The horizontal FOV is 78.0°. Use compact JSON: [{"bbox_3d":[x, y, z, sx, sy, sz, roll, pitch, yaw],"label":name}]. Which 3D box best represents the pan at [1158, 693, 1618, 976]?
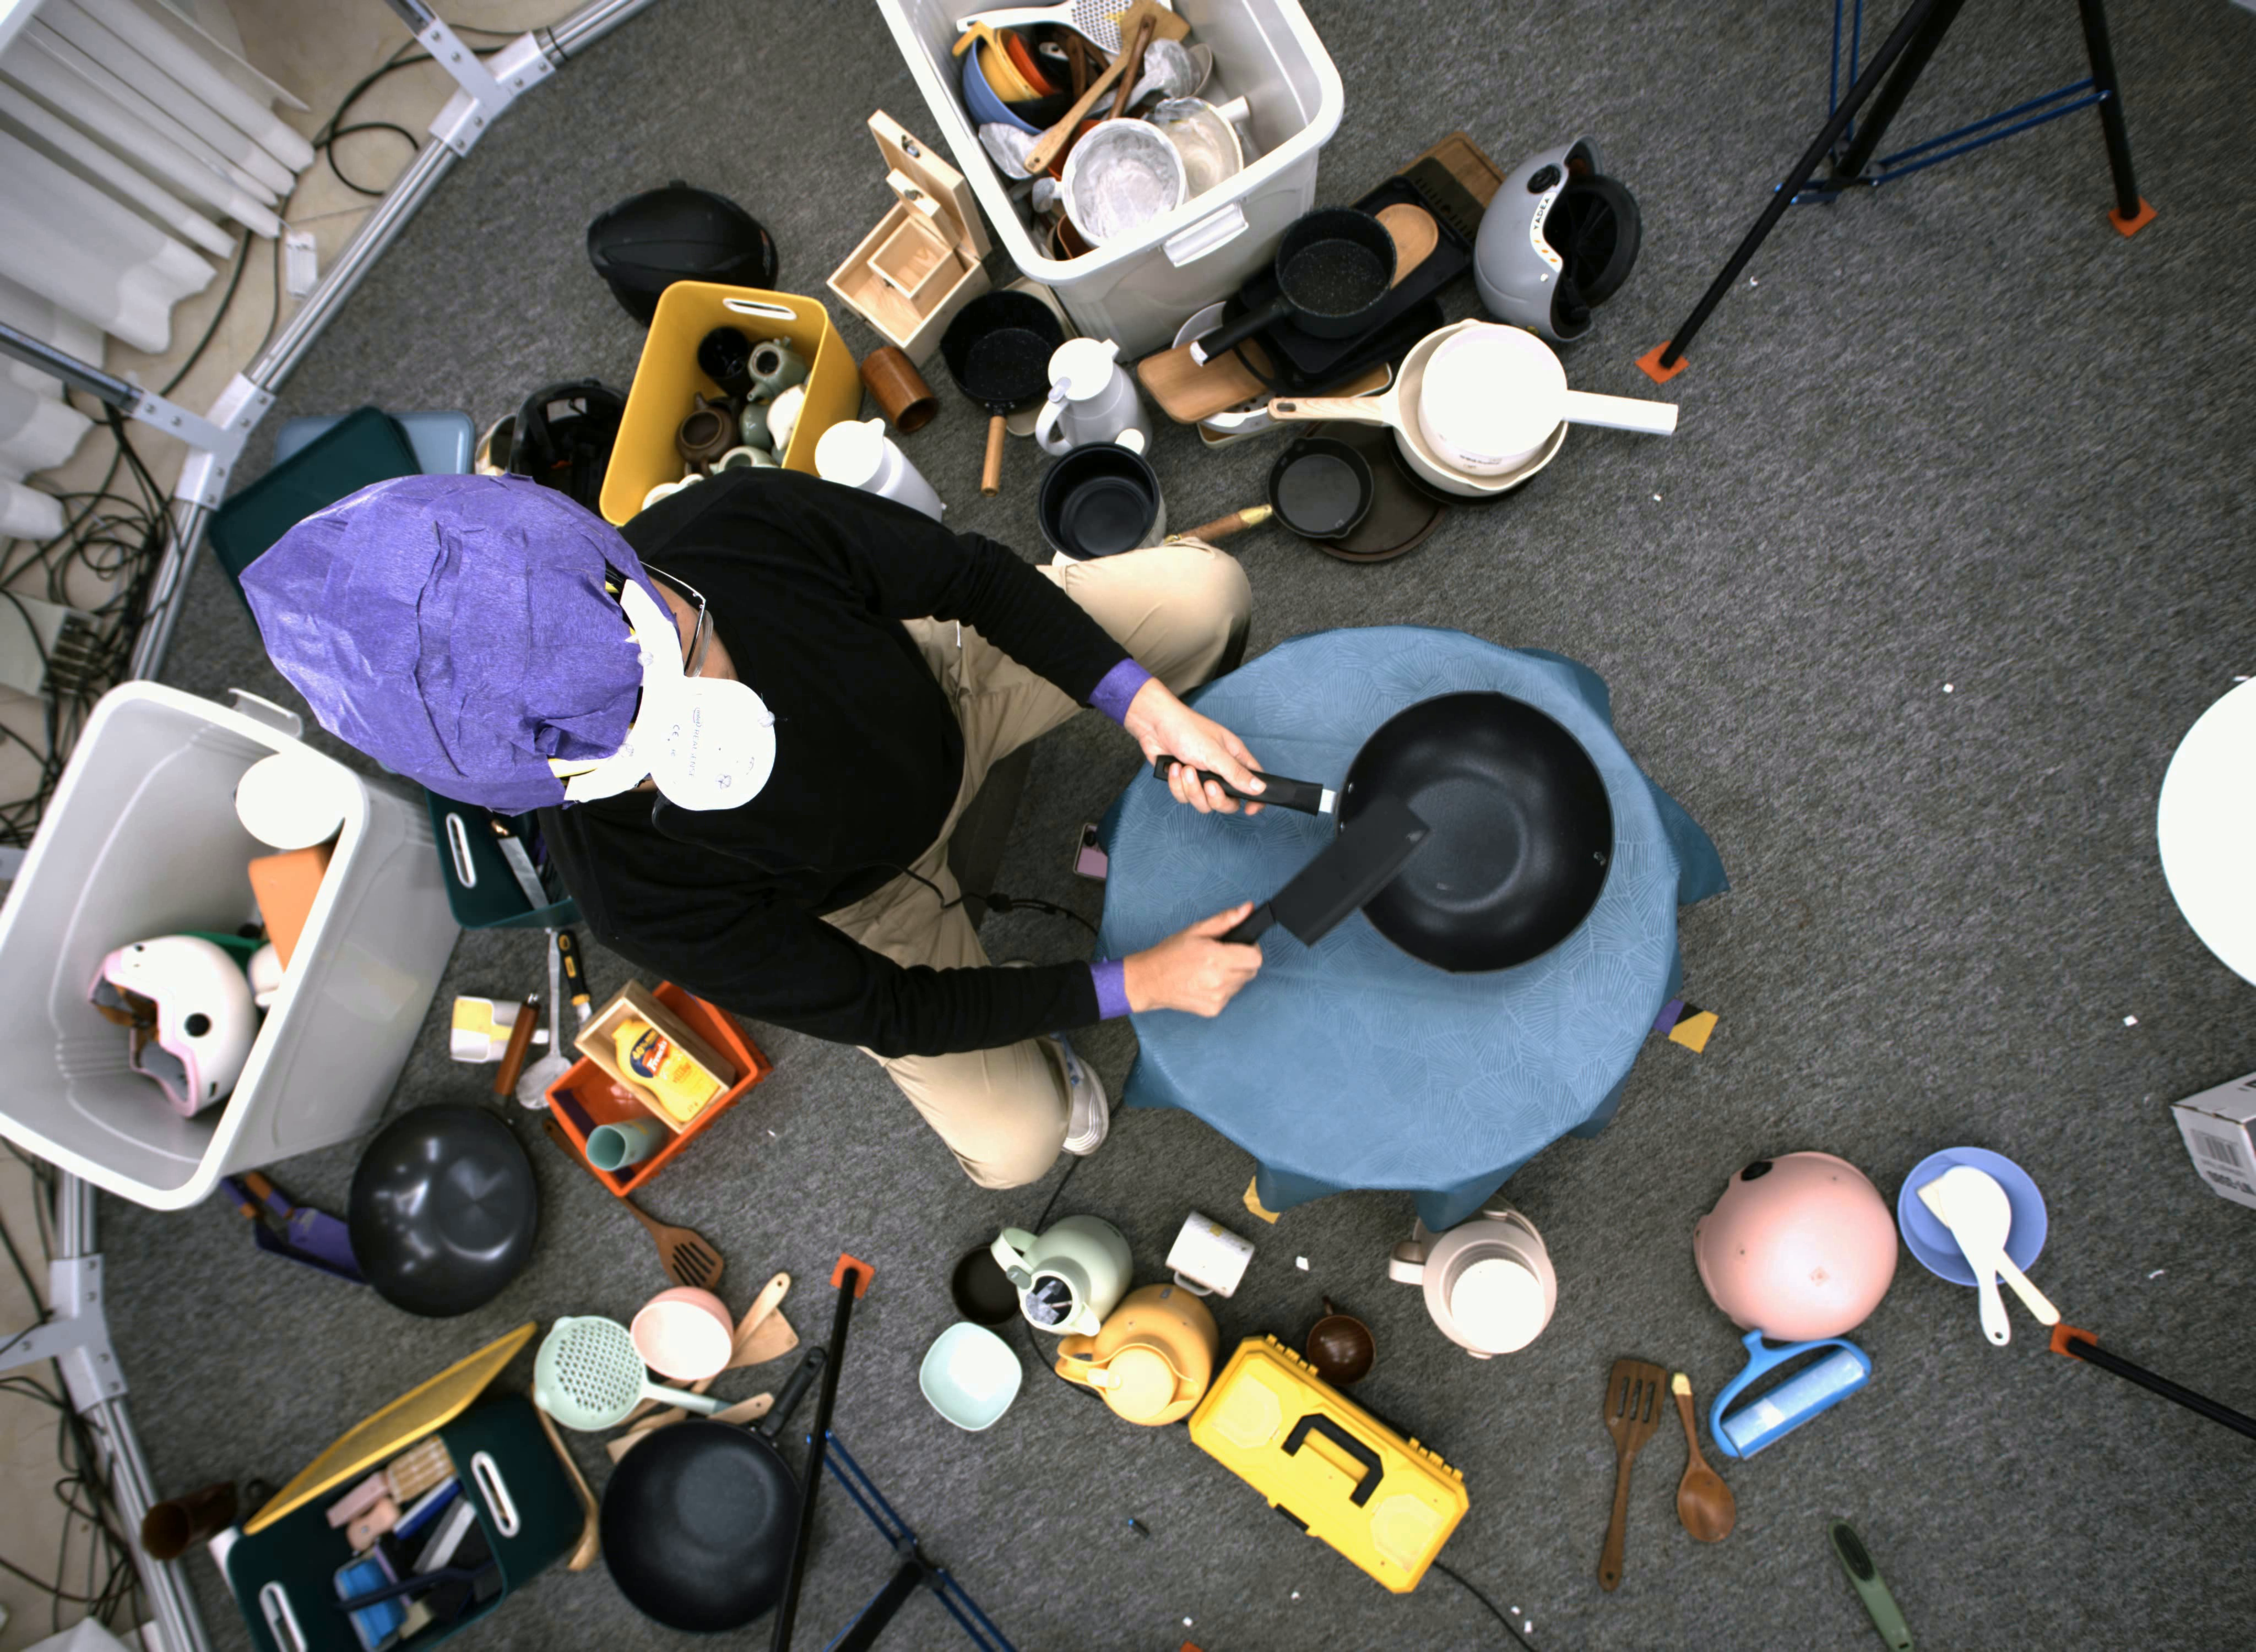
[{"bbox_3d":[0.257,-0.010,1.405,0.464,0.087,0.287,12,87,4],"label":"pan"}]

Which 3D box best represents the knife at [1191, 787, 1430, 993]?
[{"bbox_3d":[0.171,0.074,1.366,0.081,0.020,0.308,43,120,-9],"label":"knife"}]
